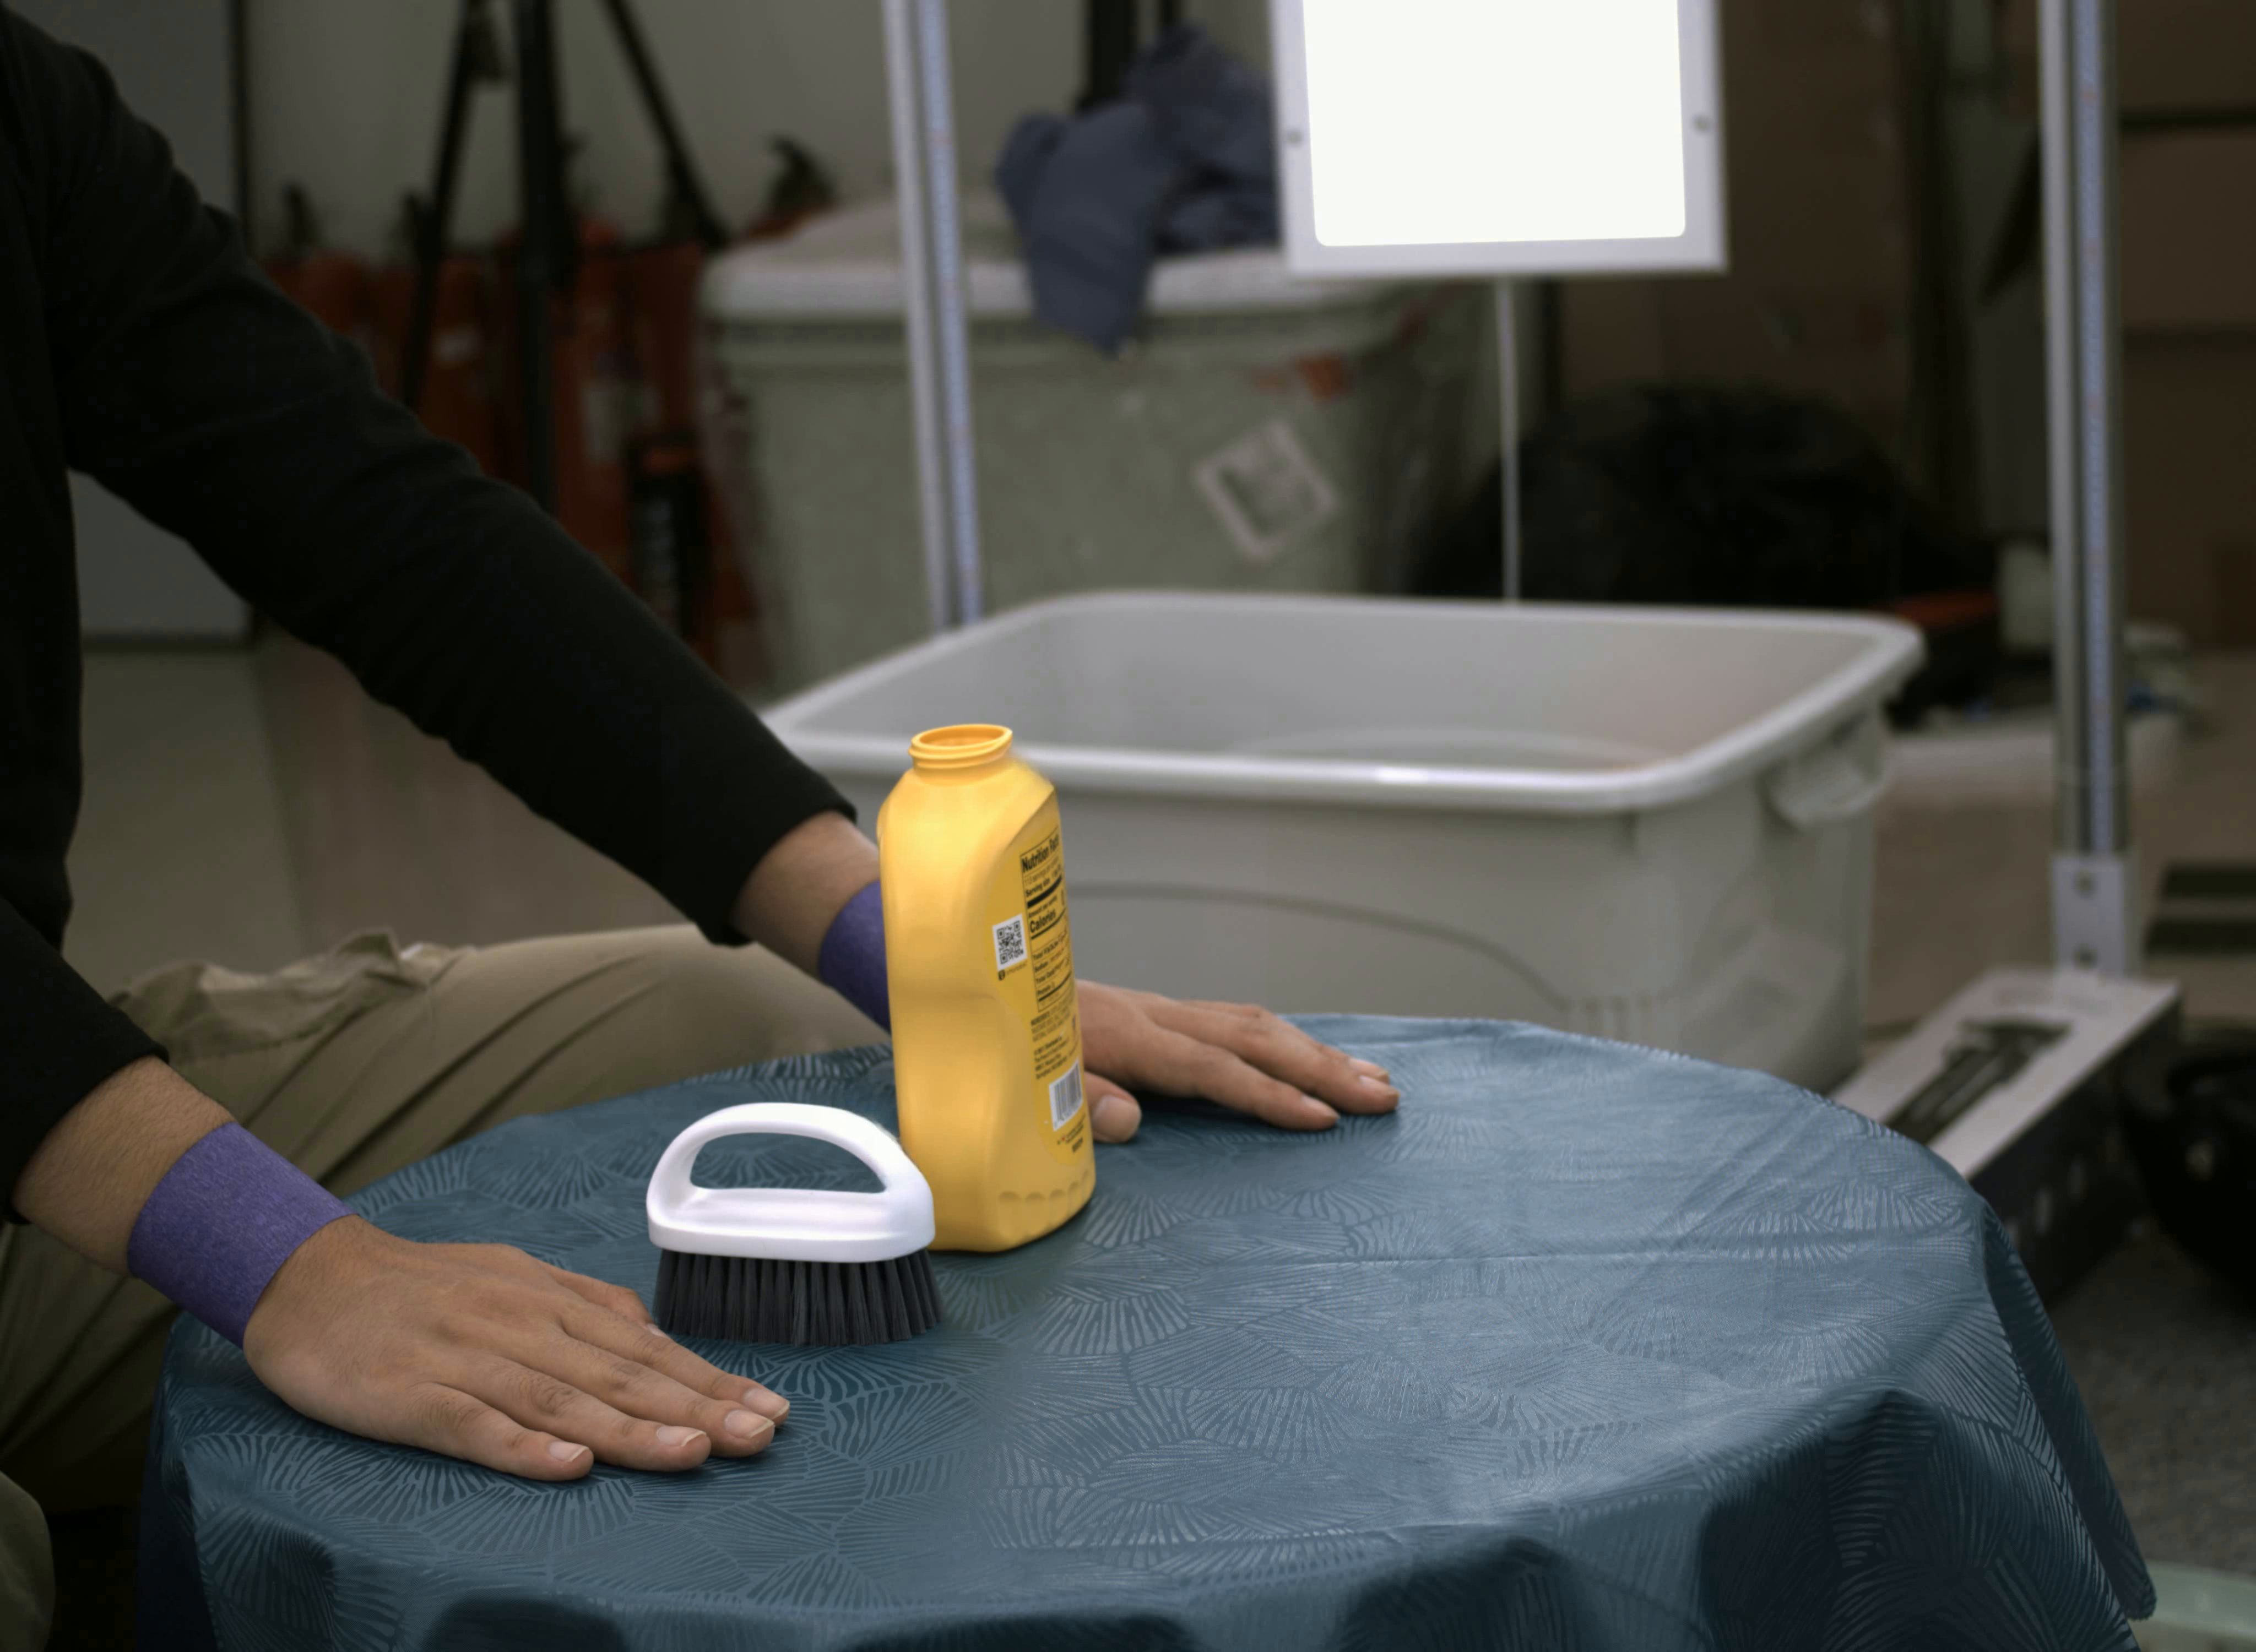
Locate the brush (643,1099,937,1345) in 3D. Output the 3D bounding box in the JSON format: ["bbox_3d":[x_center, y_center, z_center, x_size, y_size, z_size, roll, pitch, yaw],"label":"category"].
[{"bbox_3d":[-0.111,0.125,1.787,0.101,0.073,0.049,3,14,25],"label":"brush"}]

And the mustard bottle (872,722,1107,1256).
[{"bbox_3d":[-0.048,0.053,1.861,0.060,0.172,0.096,-3,15,19],"label":"mustard bottle"}]
